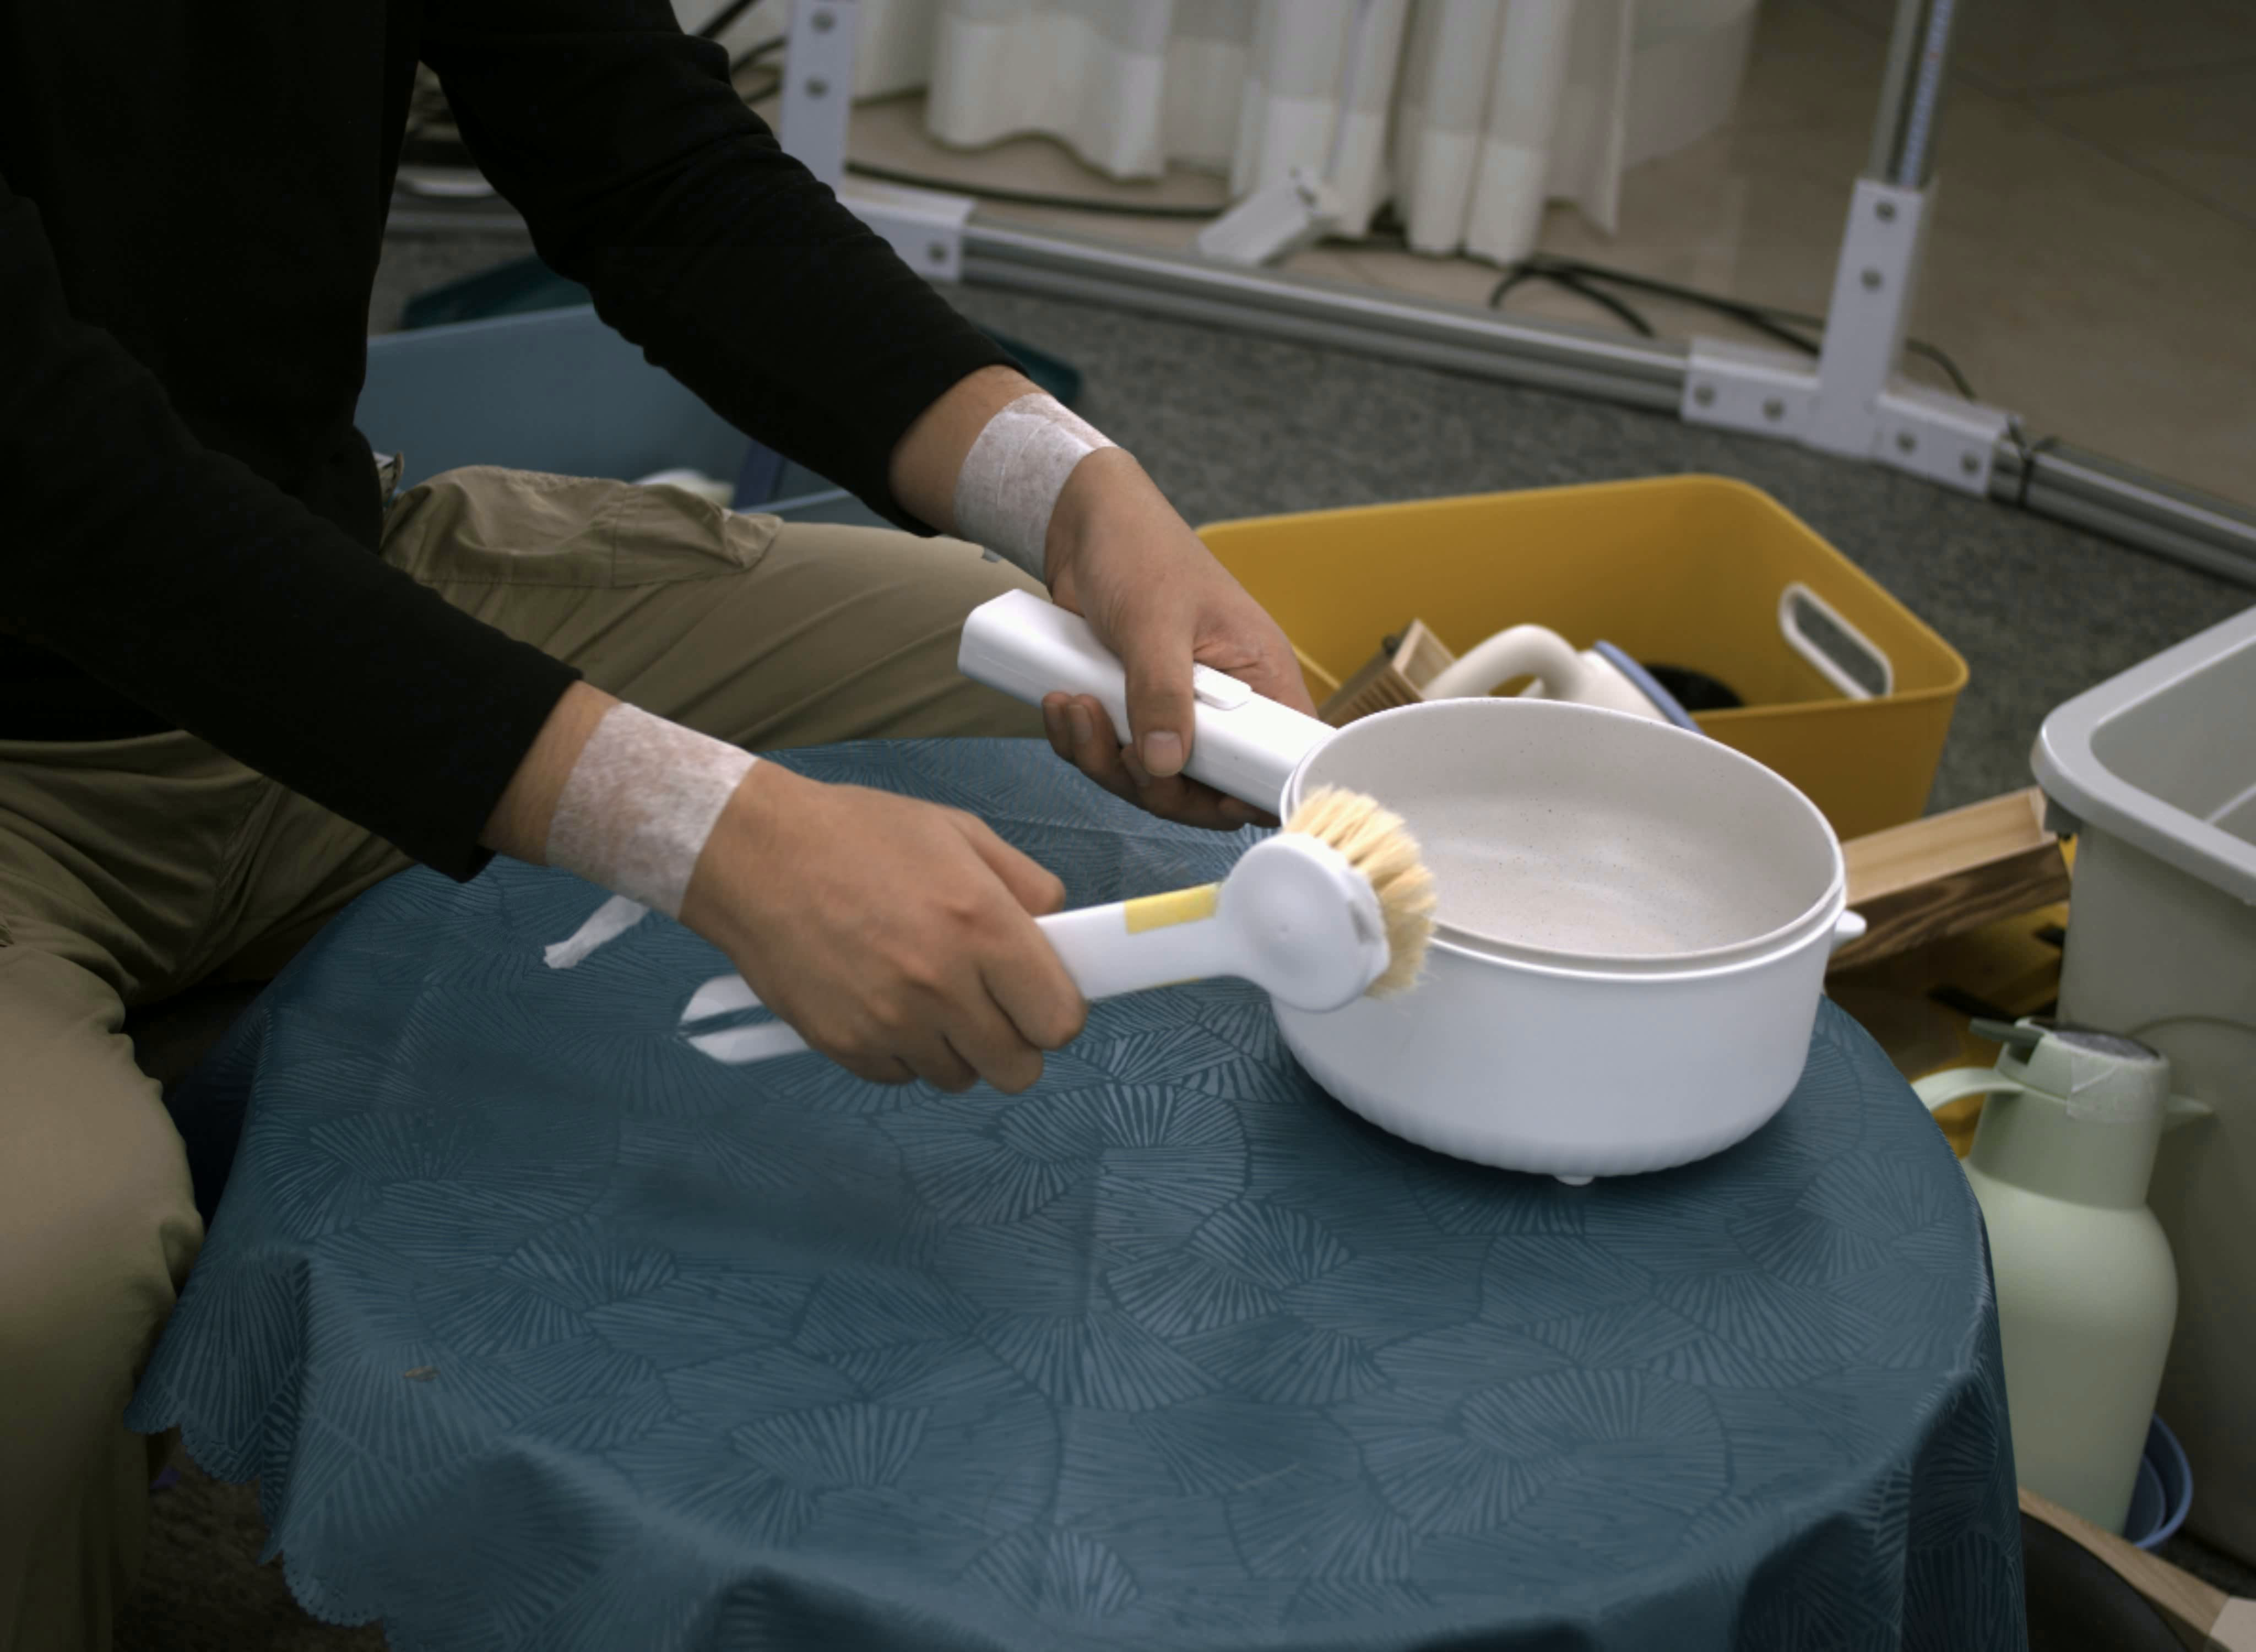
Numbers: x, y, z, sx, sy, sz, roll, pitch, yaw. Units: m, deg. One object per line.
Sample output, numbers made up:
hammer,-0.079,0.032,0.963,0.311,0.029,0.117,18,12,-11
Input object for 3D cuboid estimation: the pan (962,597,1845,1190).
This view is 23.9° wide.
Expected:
pan,0.086,0.019,1.922,0.357,0.102,0.200,22,32,30

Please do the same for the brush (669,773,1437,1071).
brush,-0.025,0.039,1.746,0.267,0.068,0.056,-13,2,24
